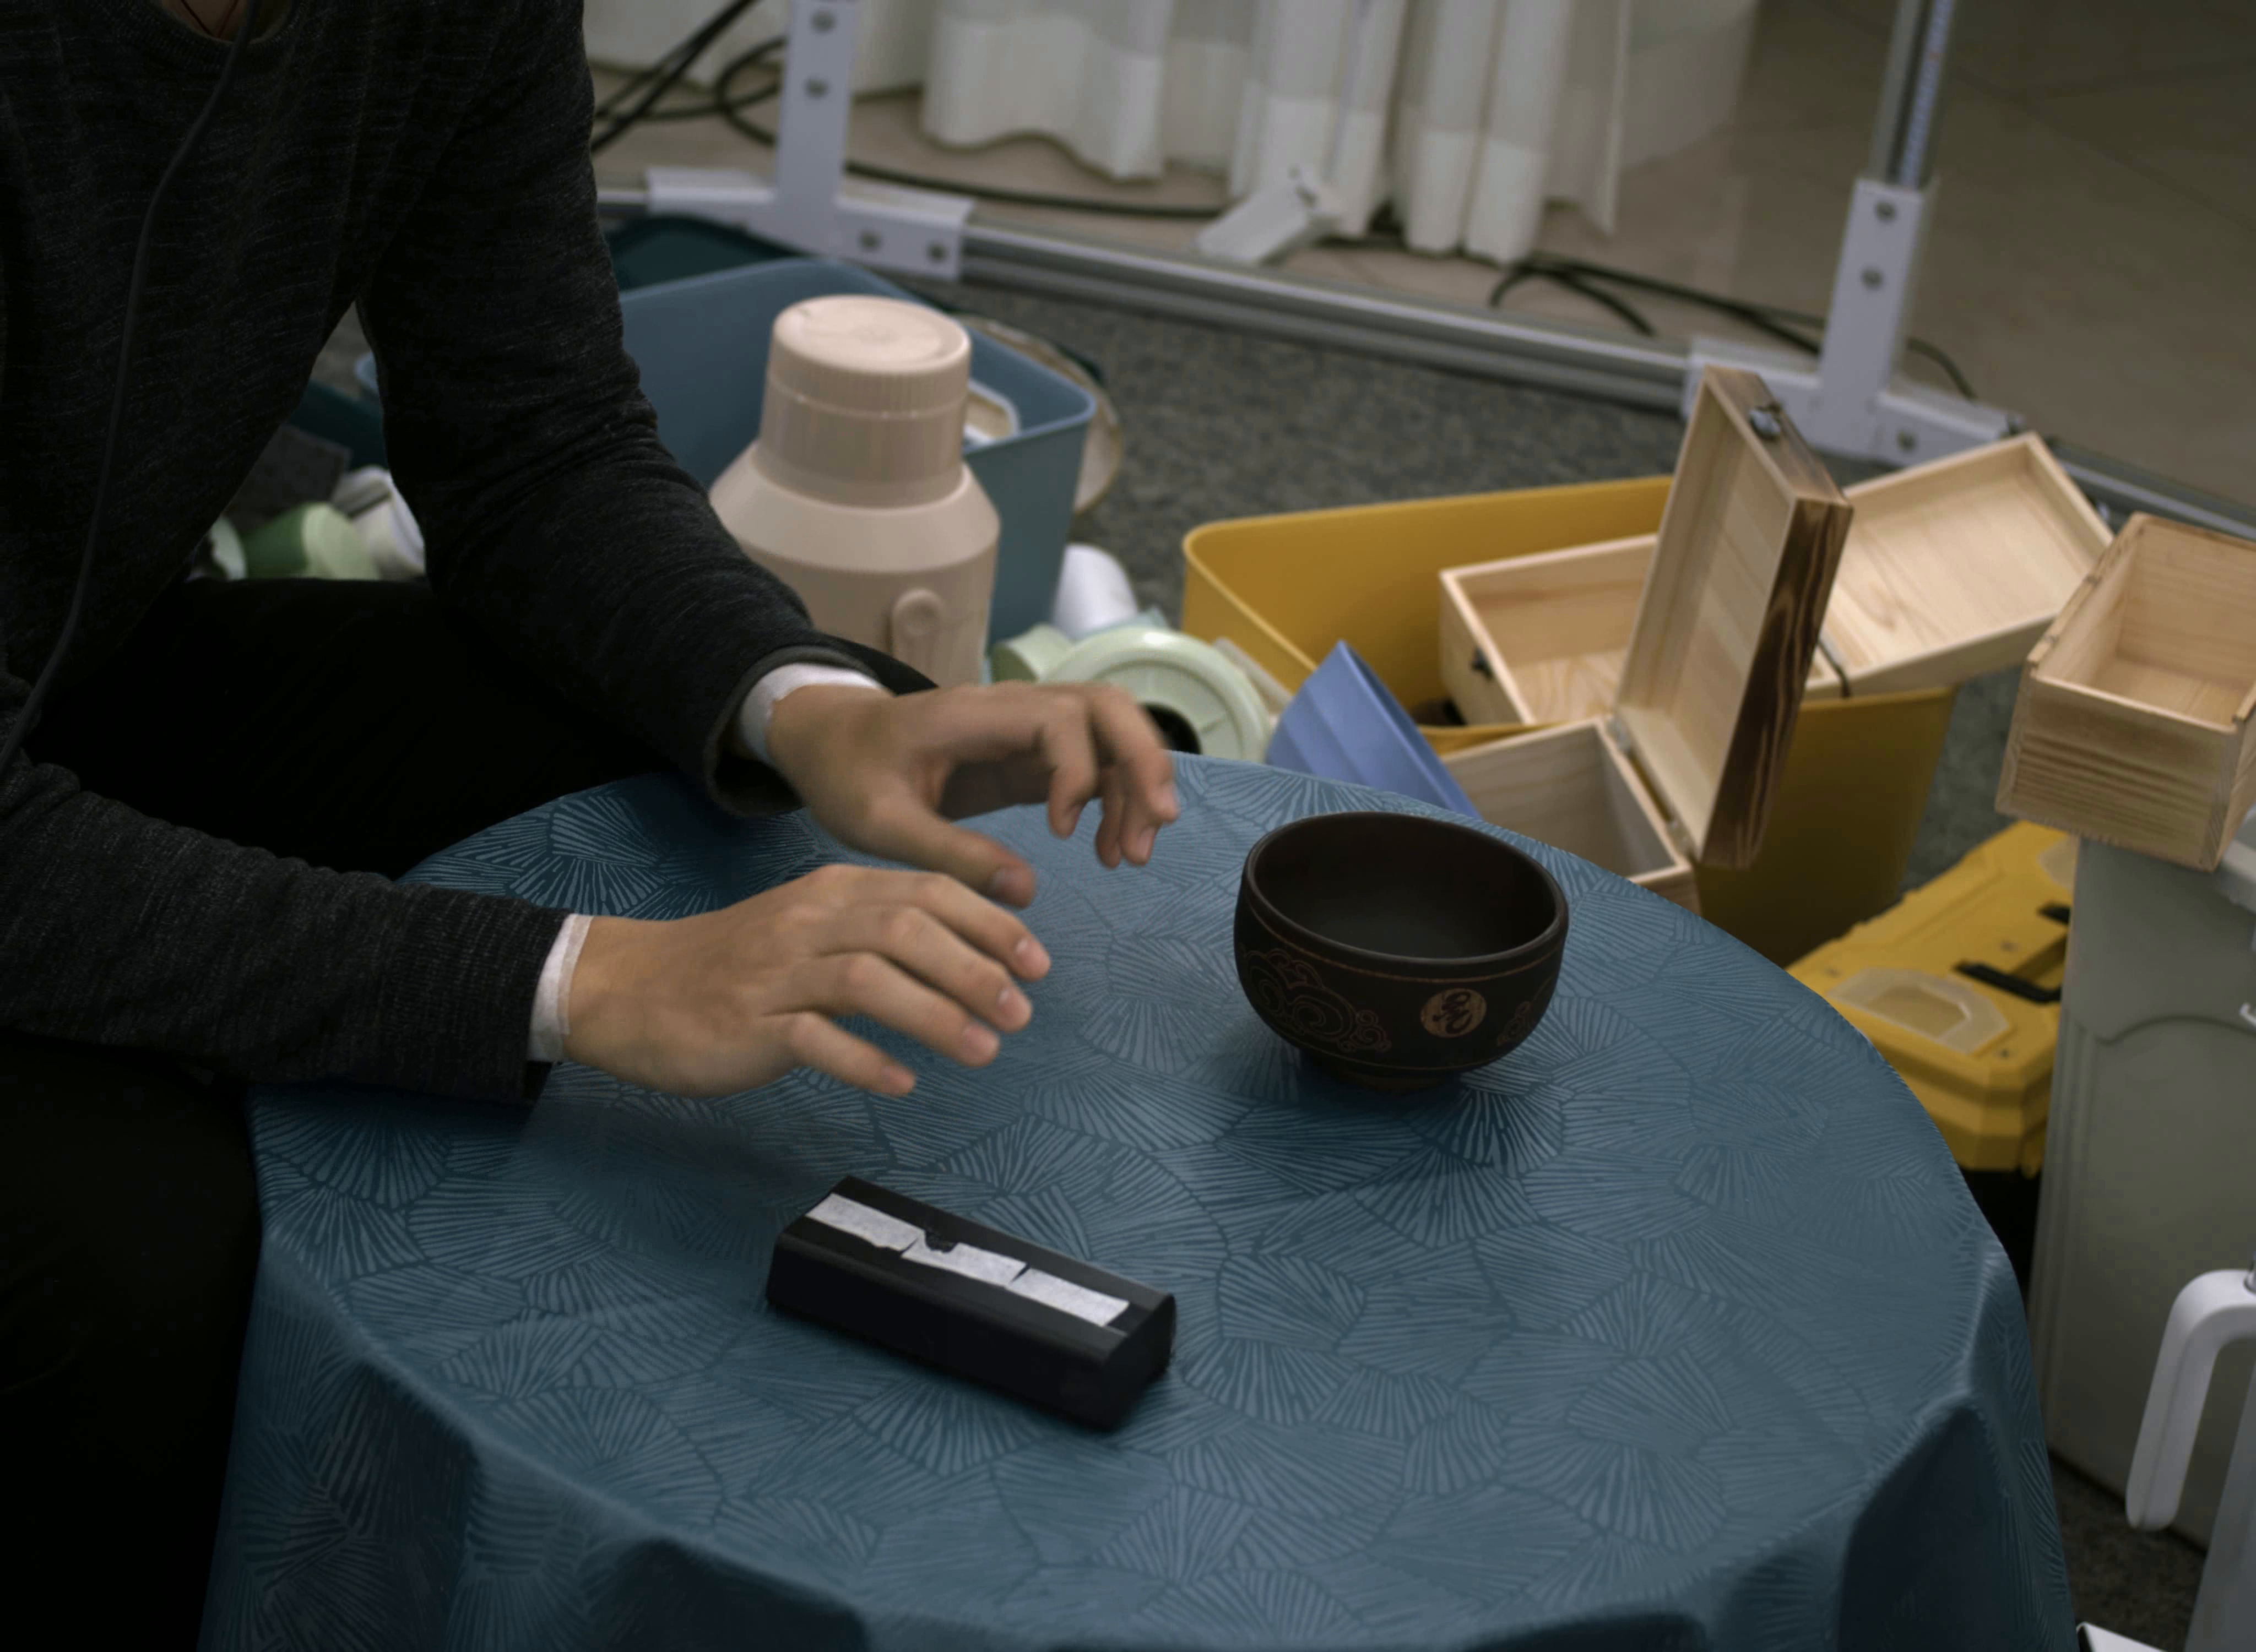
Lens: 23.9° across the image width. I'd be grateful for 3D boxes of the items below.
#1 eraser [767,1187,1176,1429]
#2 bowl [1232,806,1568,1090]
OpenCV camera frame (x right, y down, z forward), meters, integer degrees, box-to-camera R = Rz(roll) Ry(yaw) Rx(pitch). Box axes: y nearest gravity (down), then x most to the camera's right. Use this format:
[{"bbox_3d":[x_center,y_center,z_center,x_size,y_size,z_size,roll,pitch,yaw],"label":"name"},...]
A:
[{"bbox_3d":[-0.050,0.153,1.701,0.126,0.030,0.053,17,26,21],"label":"eraser"},{"bbox_3d":[0.094,0.050,1.890,0.117,0.069,0.119,5,29,-3],"label":"bowl"}]
